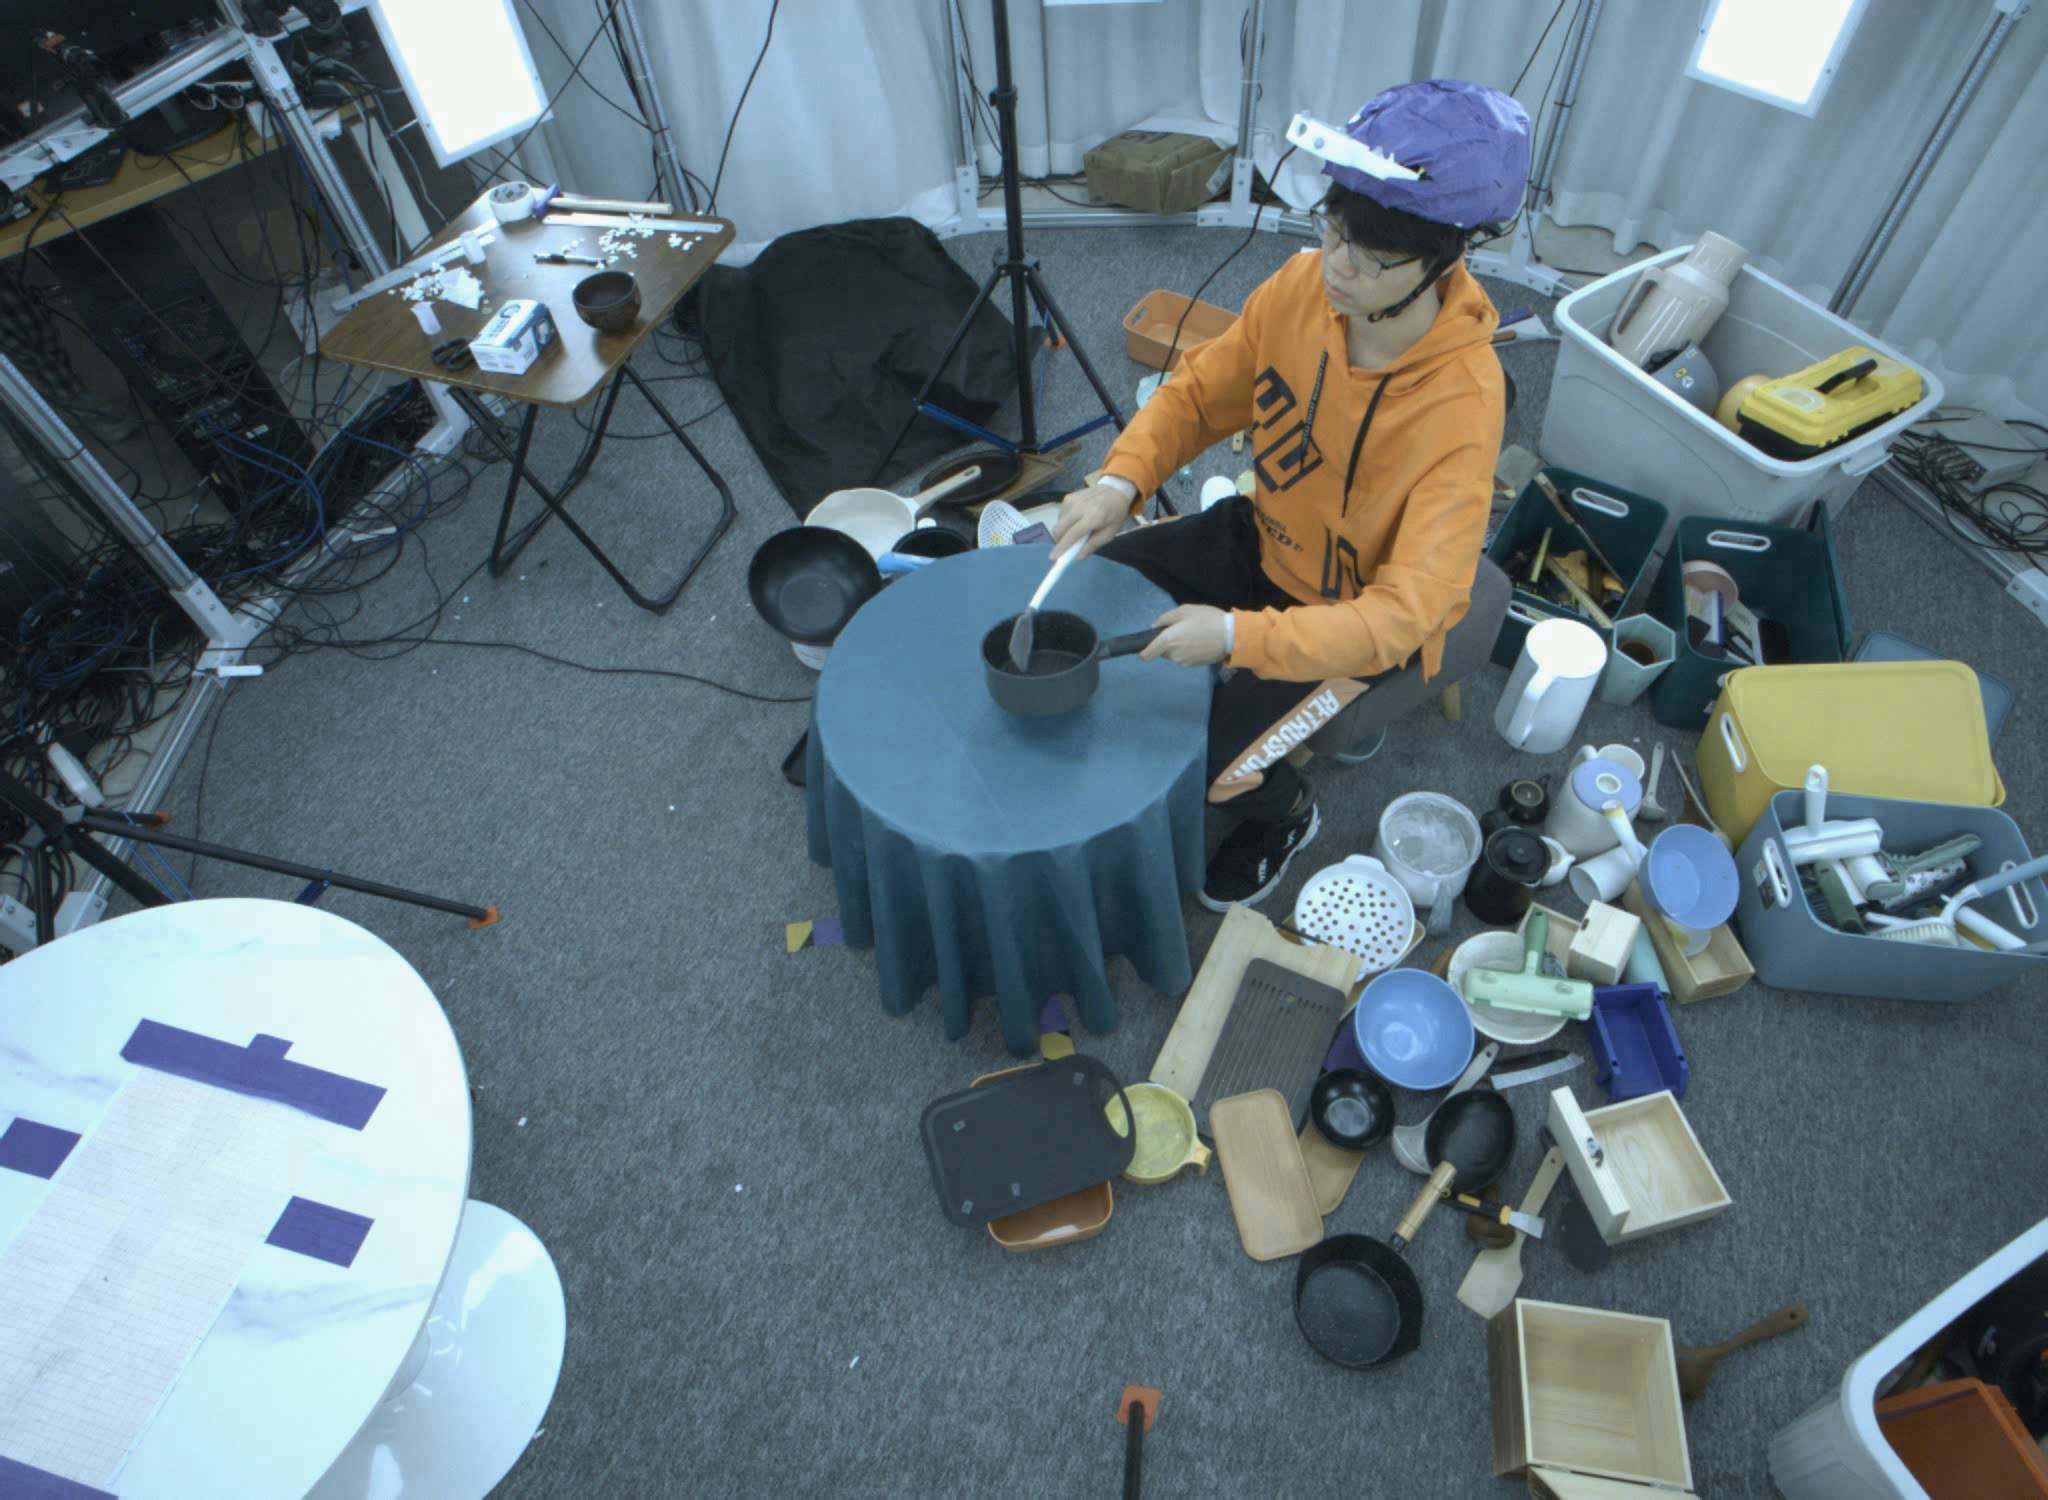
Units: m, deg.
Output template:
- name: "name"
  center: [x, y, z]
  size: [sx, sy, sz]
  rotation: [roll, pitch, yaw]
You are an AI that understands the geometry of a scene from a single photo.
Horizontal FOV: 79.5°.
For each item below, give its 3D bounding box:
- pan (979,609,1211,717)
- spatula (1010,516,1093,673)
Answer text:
- name: "pan"
  center: [0.103, -0.132, 1.761]
  size: [0.328, 0.087, 0.170]
  rotation: [-4, 42, 4]
- name: "spatula"
  center: [0.036, -0.228, 1.771]
  size: [0.031, 0.060, 0.287]
  rotation: [6, 55, 29]
